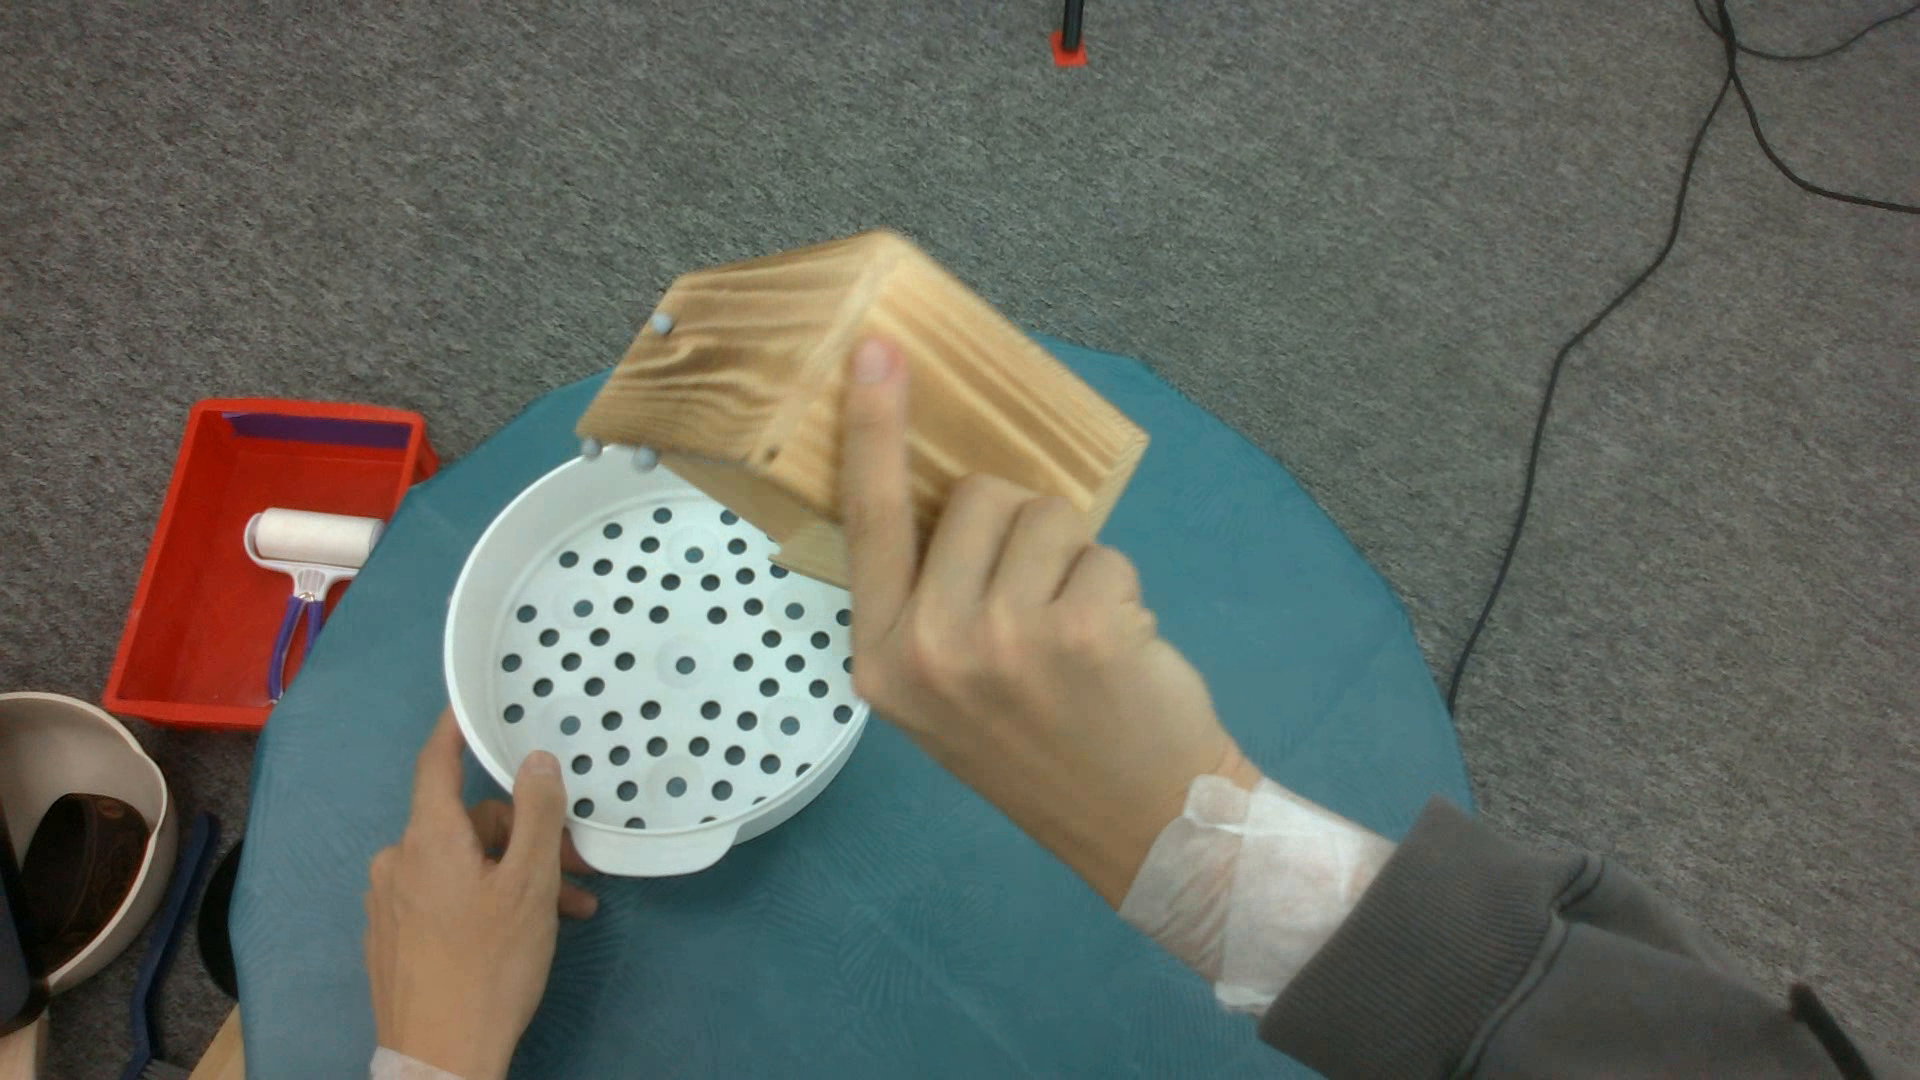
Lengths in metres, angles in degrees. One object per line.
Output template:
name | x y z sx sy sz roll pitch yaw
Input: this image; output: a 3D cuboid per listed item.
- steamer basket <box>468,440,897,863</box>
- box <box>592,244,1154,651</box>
steamer basket | -0.133 0.048 0.682 0.202 0.069 0.231 1 66 -4
box | -0.043 -0.038 0.502 0.107 0.211 0.080 37 79 -27
